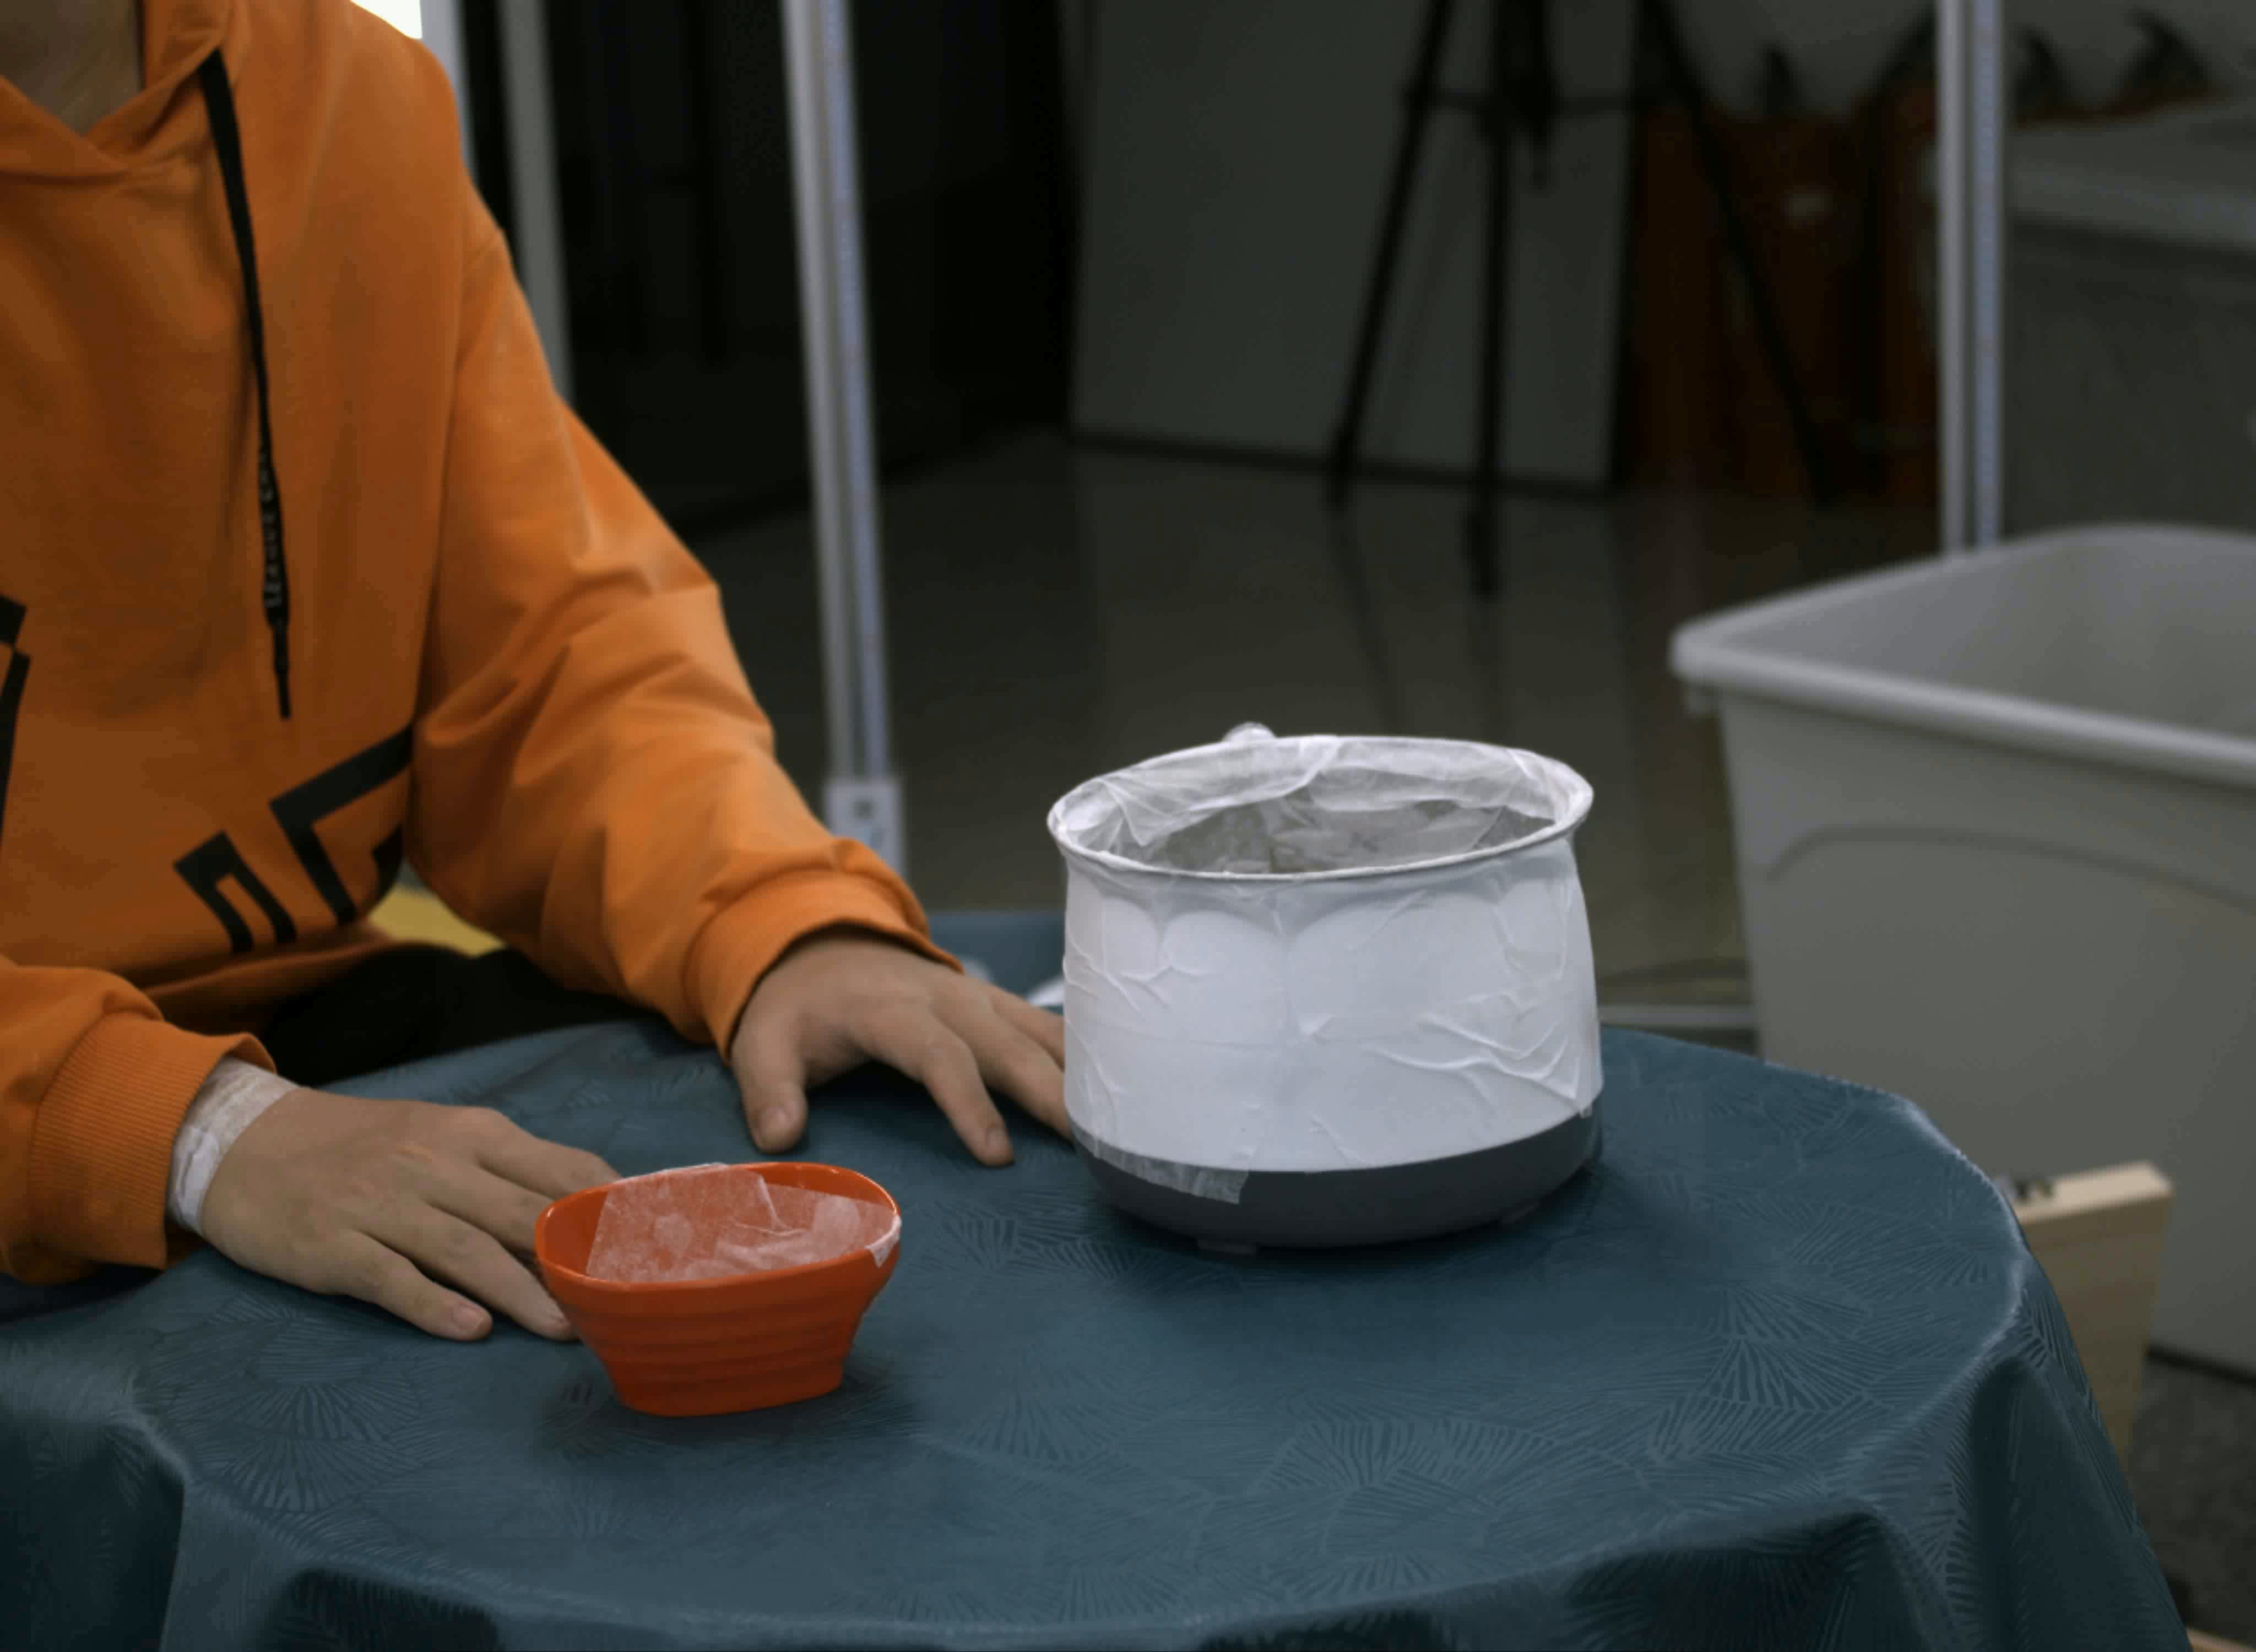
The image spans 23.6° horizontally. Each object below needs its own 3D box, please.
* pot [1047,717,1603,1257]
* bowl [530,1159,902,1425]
[{"bbox_3d":[0.058,0.047,1.767,0.175,0.138,0.235,-6,14,-11],"label":"pot"},{"bbox_3d":[-0.121,0.141,1.618,0.117,0.052,0.119,-5,15,0],"label":"bowl"}]
